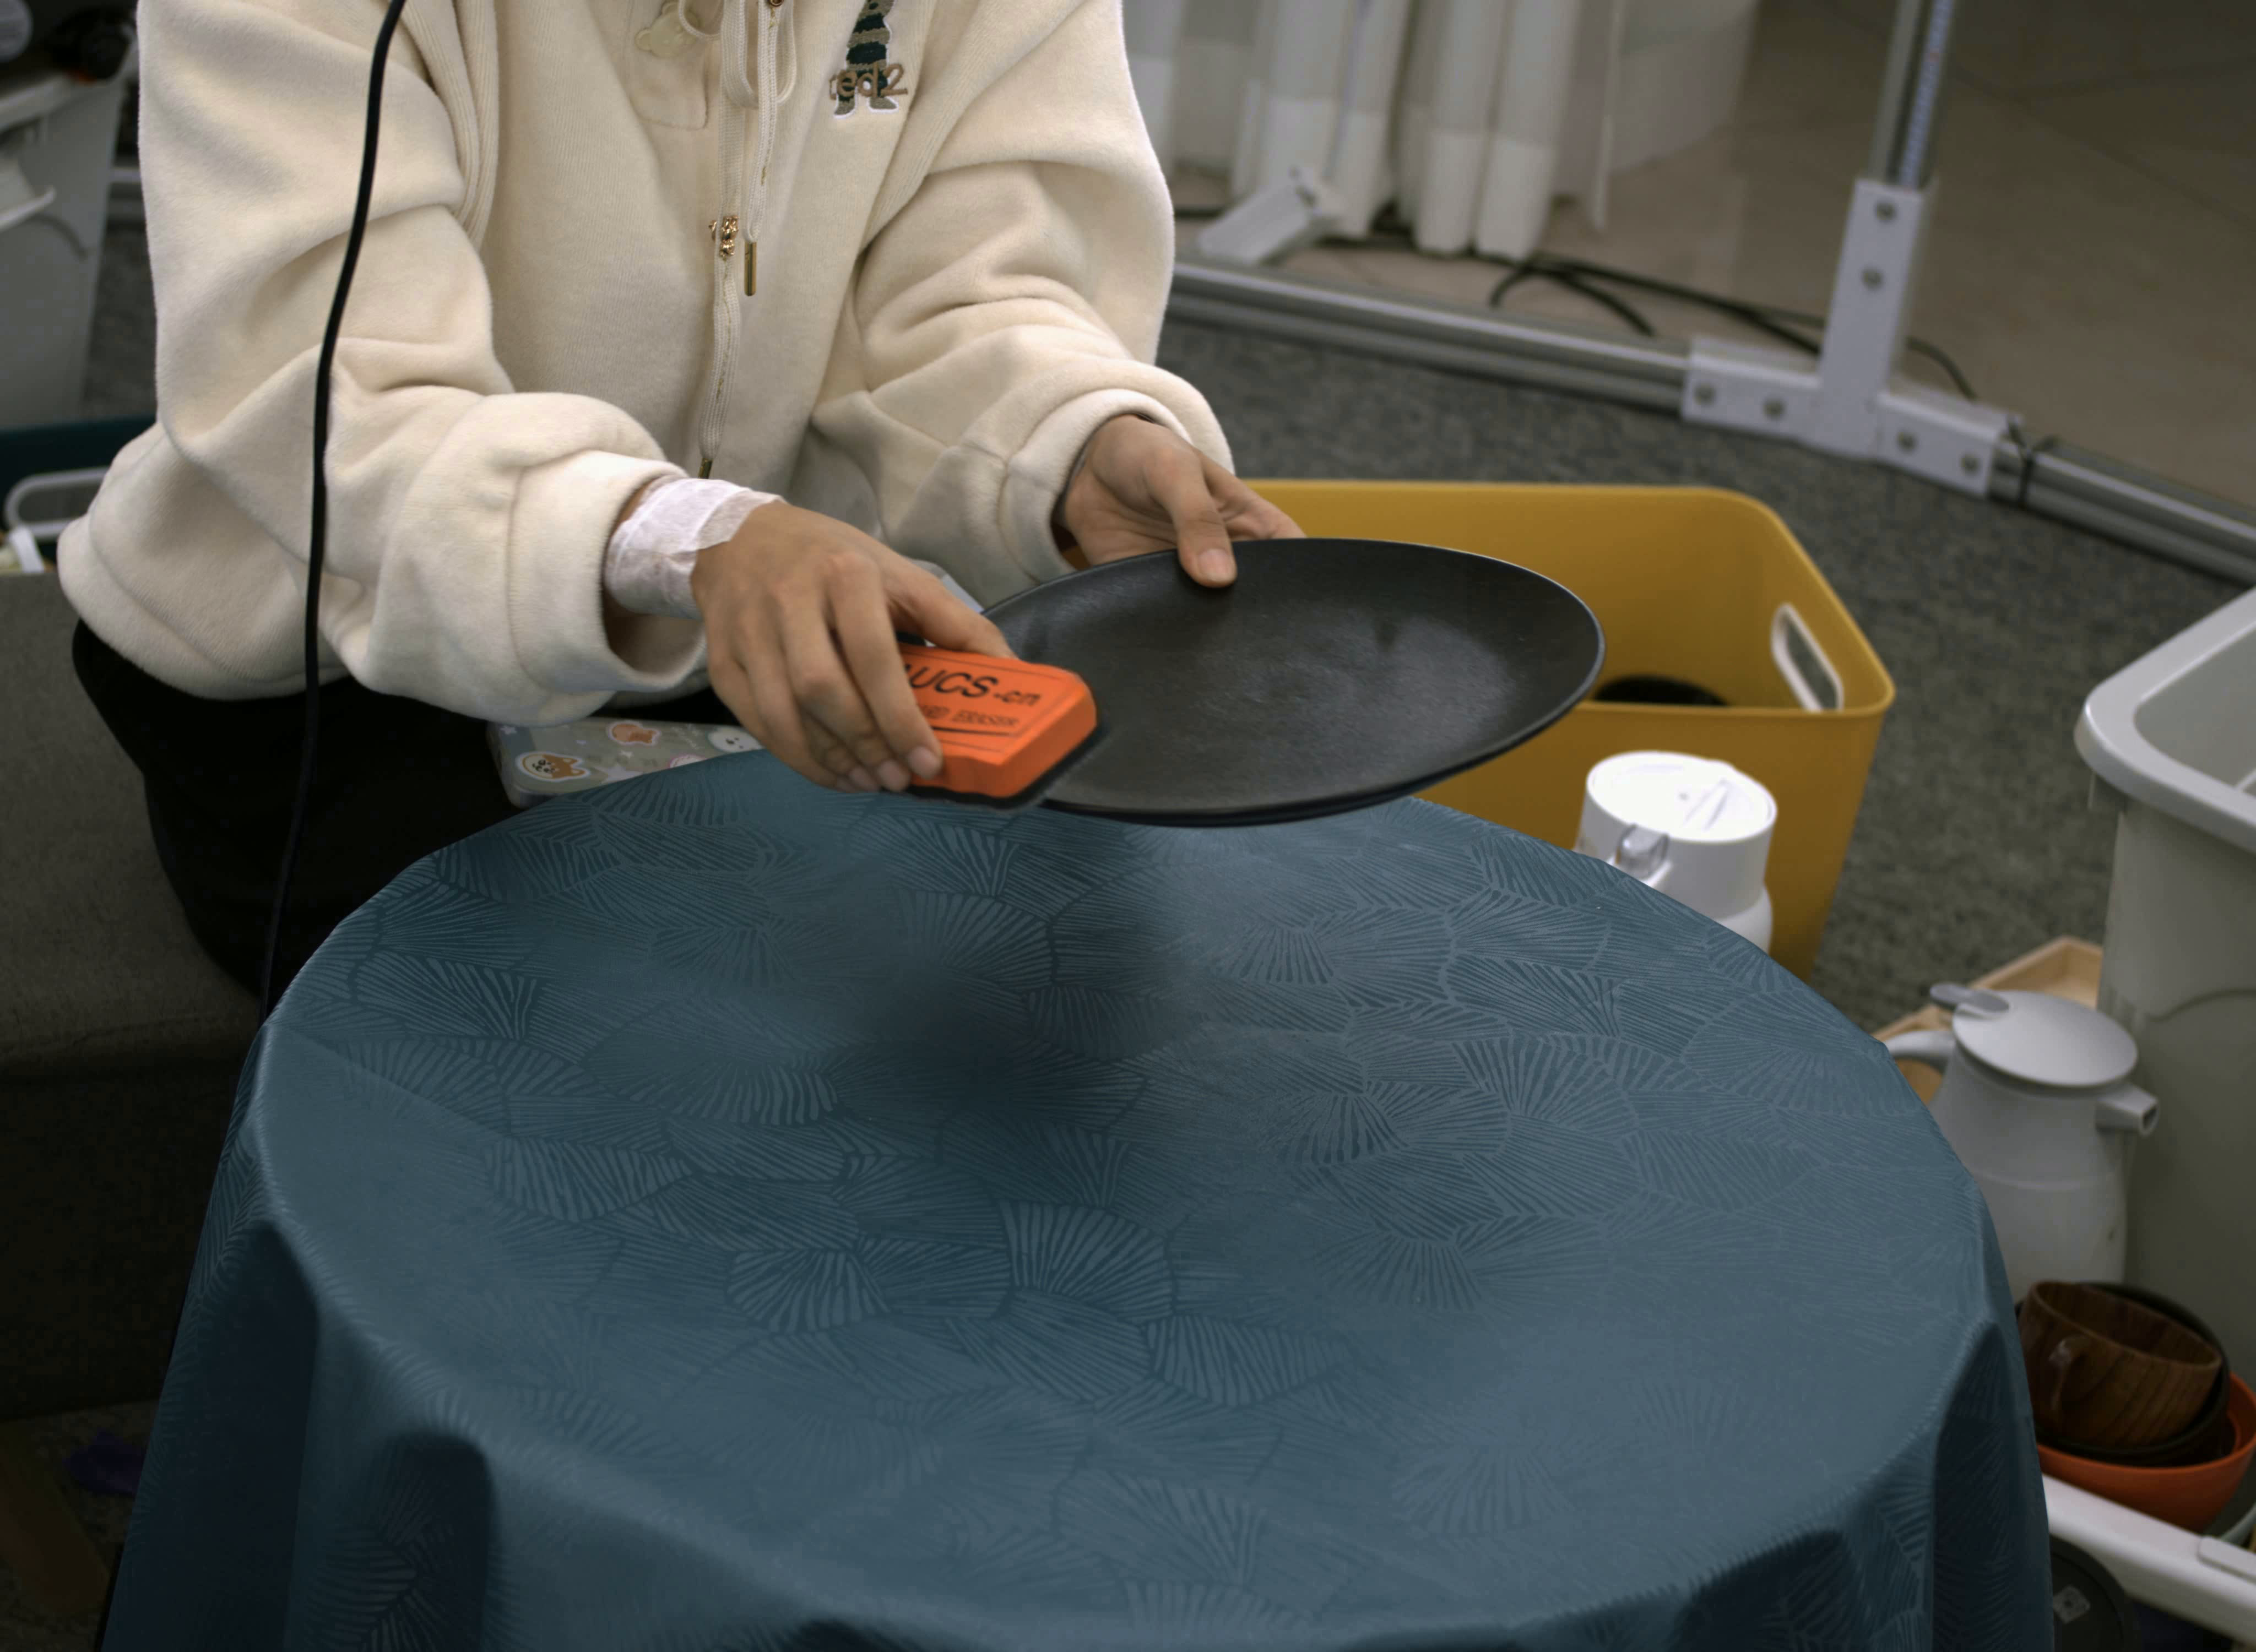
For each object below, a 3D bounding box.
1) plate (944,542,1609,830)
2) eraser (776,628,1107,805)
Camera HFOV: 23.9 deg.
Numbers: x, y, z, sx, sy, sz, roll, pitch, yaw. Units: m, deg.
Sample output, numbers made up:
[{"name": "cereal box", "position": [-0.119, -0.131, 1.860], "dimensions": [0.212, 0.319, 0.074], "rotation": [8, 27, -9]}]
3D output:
[{"name": "plate", "position": [0.046, -0.046, 1.844], "dimensions": [0.244, 0.023, 0.246], "rotation": [-5, 23, 2]}, {"name": "eraser", "position": [-0.063, -0.038, 1.792], "dimensions": [0.109, 0.023, 0.059], "rotation": [12, 42, 41]}]
